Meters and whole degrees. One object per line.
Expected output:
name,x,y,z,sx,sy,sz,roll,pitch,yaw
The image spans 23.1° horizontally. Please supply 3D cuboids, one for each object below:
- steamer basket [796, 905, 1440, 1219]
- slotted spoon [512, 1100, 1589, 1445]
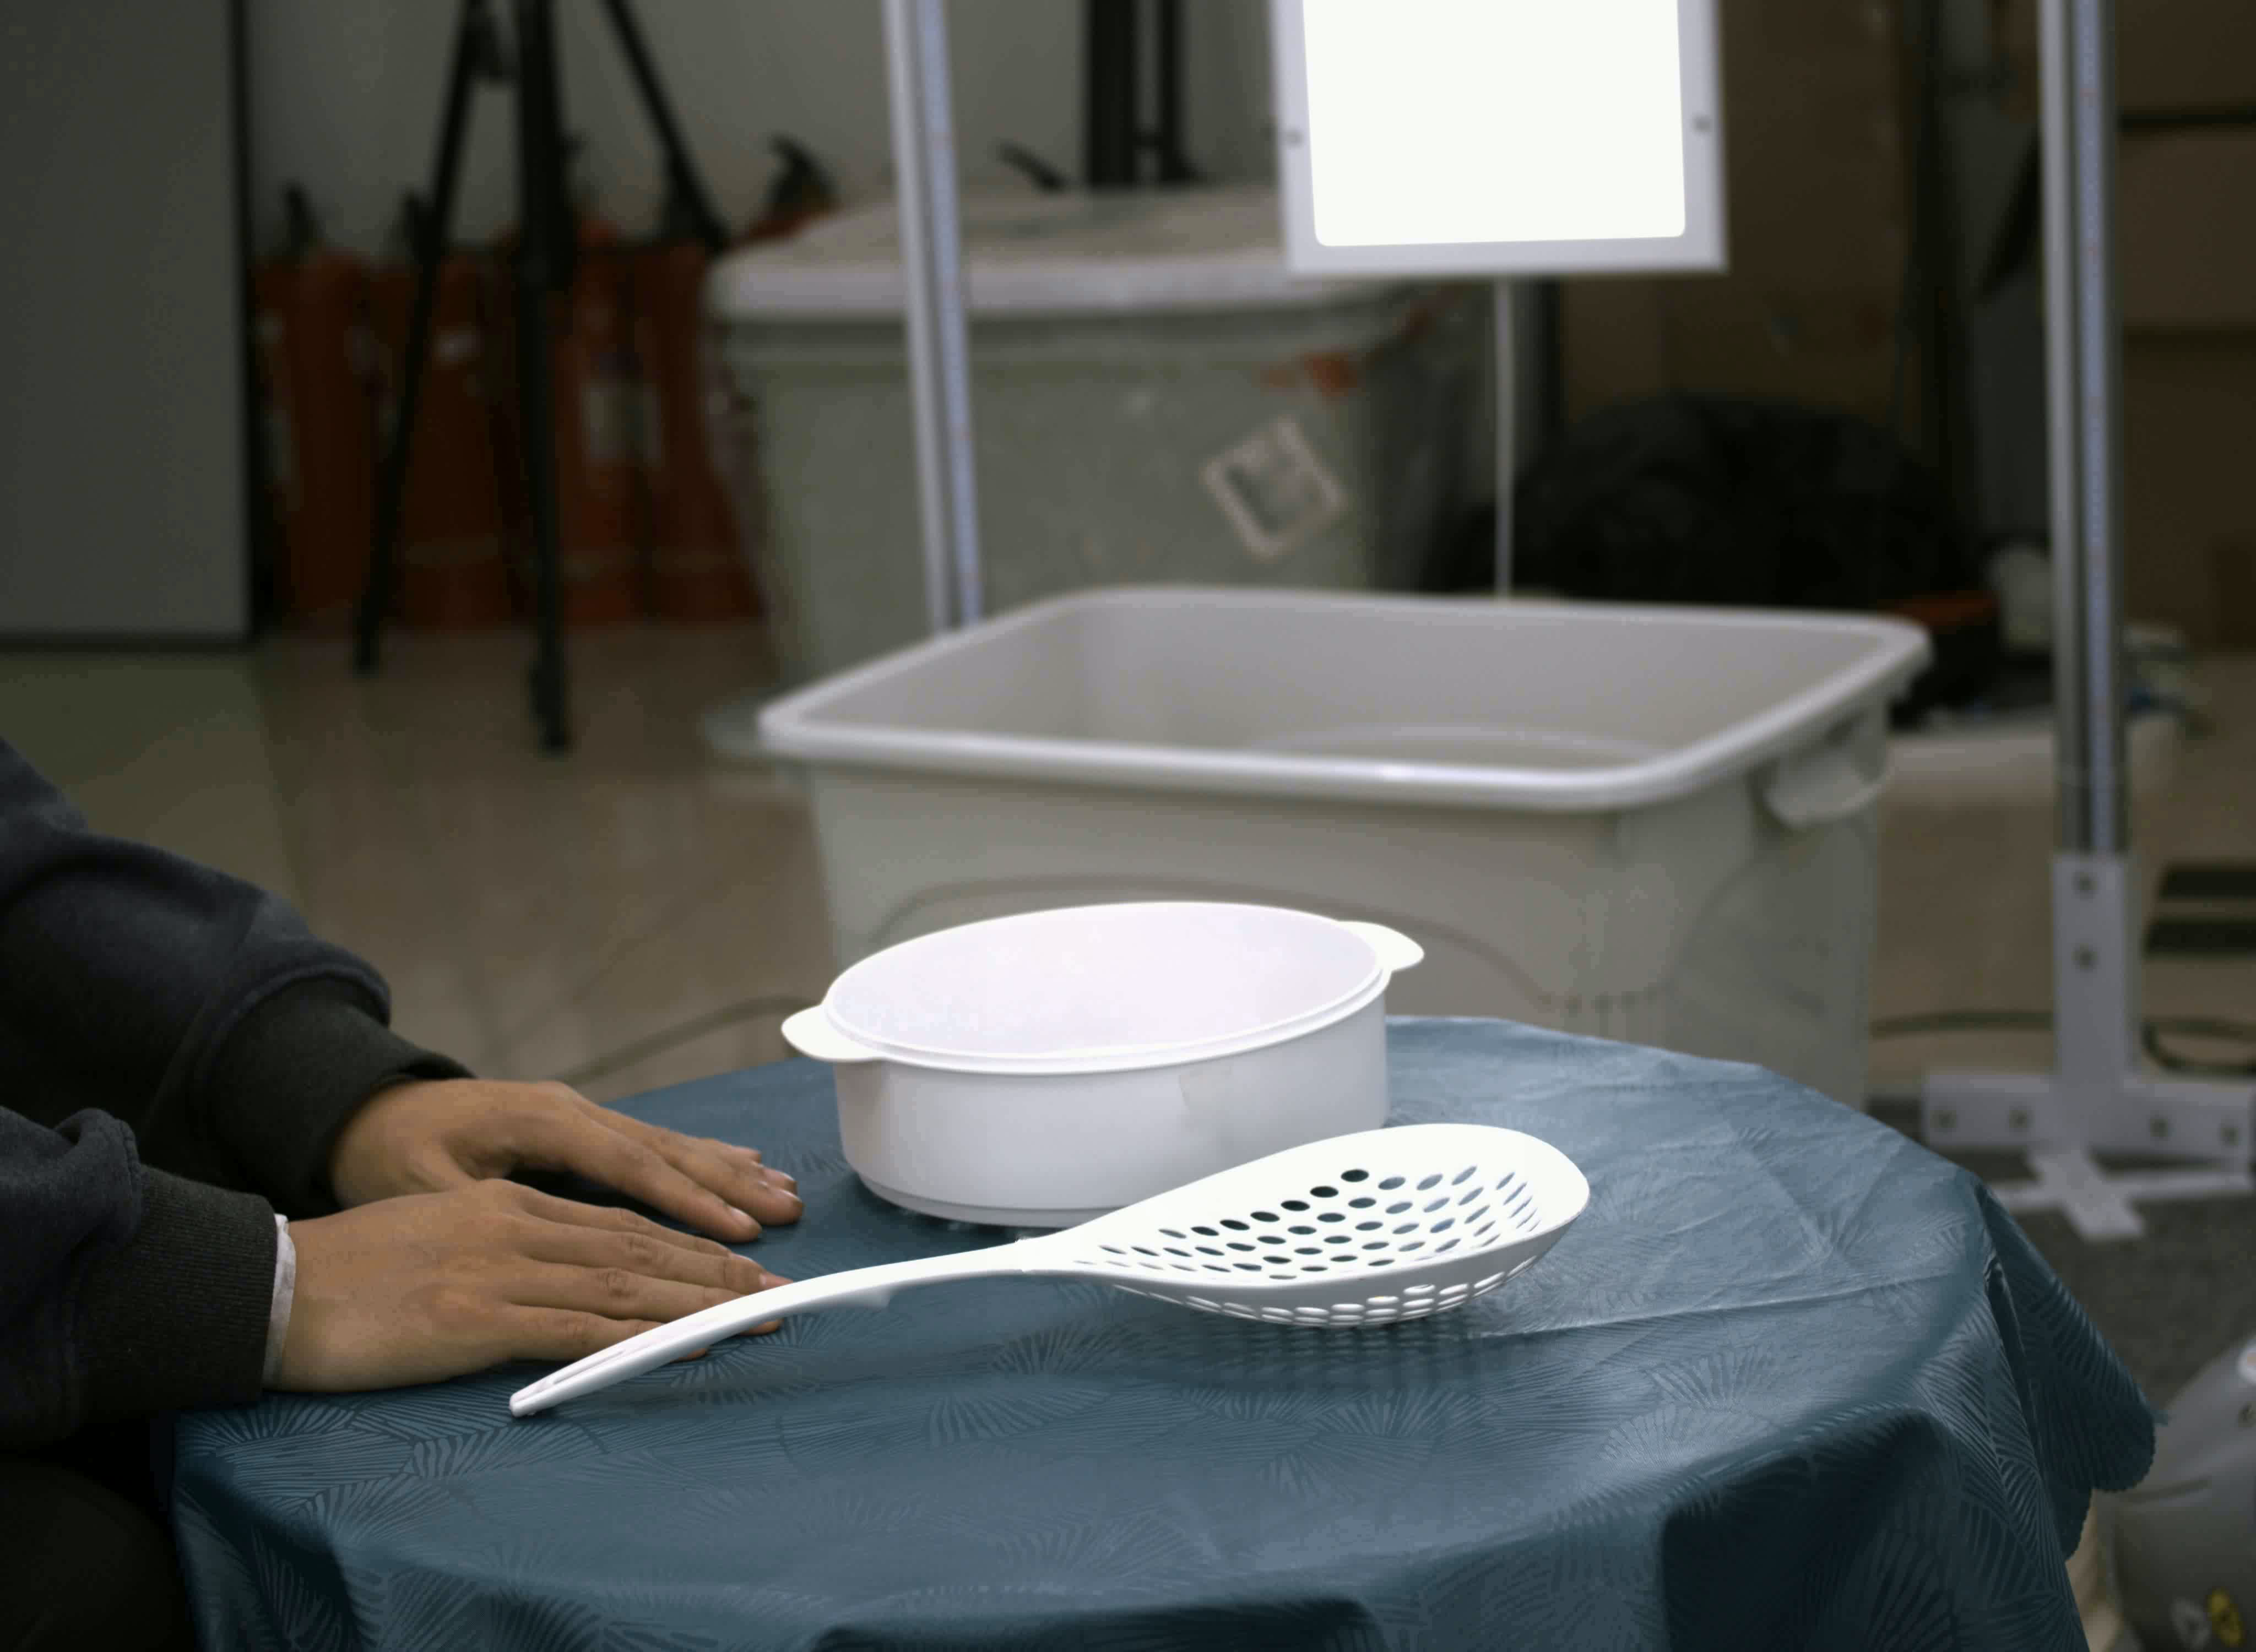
steamer basket,-0.001,0.083,1.931,0.227,0.069,0.204,-7,13,-17
slotted spoon,-0.025,0.146,1.741,0.345,0.050,0.137,-7,17,-6
